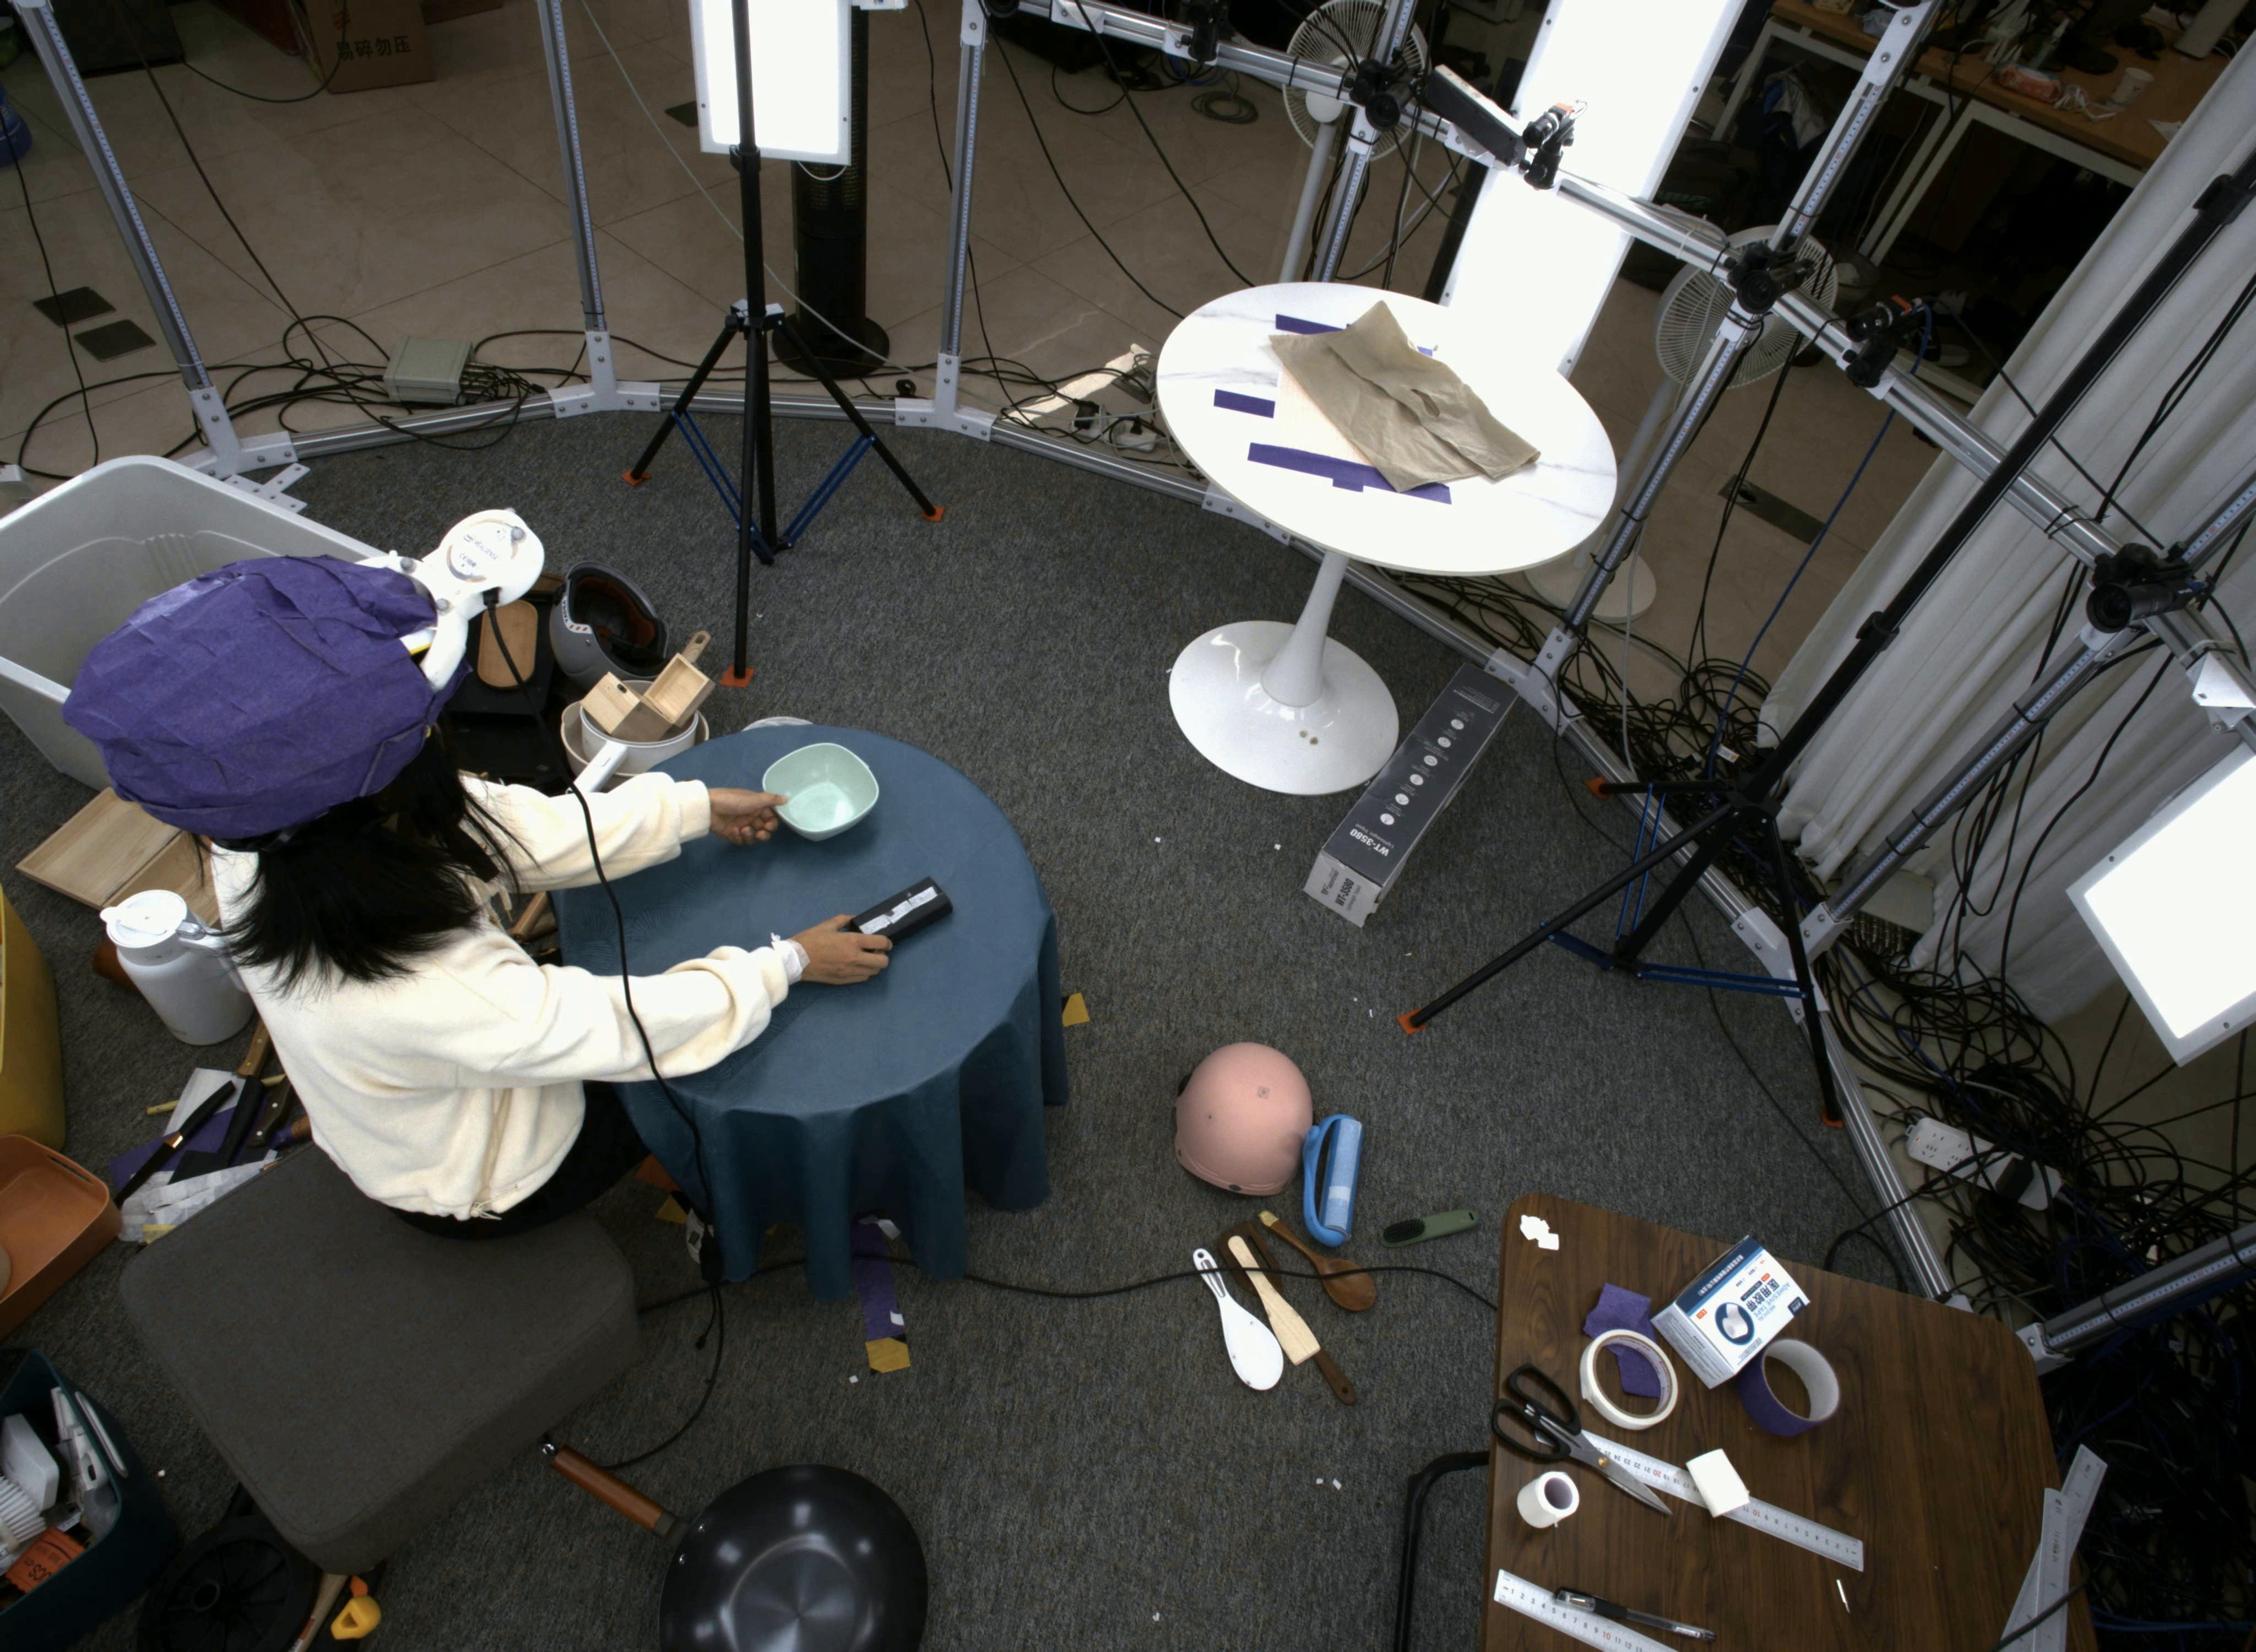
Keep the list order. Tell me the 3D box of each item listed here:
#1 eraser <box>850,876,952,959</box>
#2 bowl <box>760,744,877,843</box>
[{"bbox_3d":[-0.287,0.113,1.653,0.126,0.031,0.052,-34,65,-30],"label":"eraser"},{"bbox_3d":[-0.408,-0.035,1.713,0.151,0.060,0.148,7,50,-7],"label":"bowl"}]
